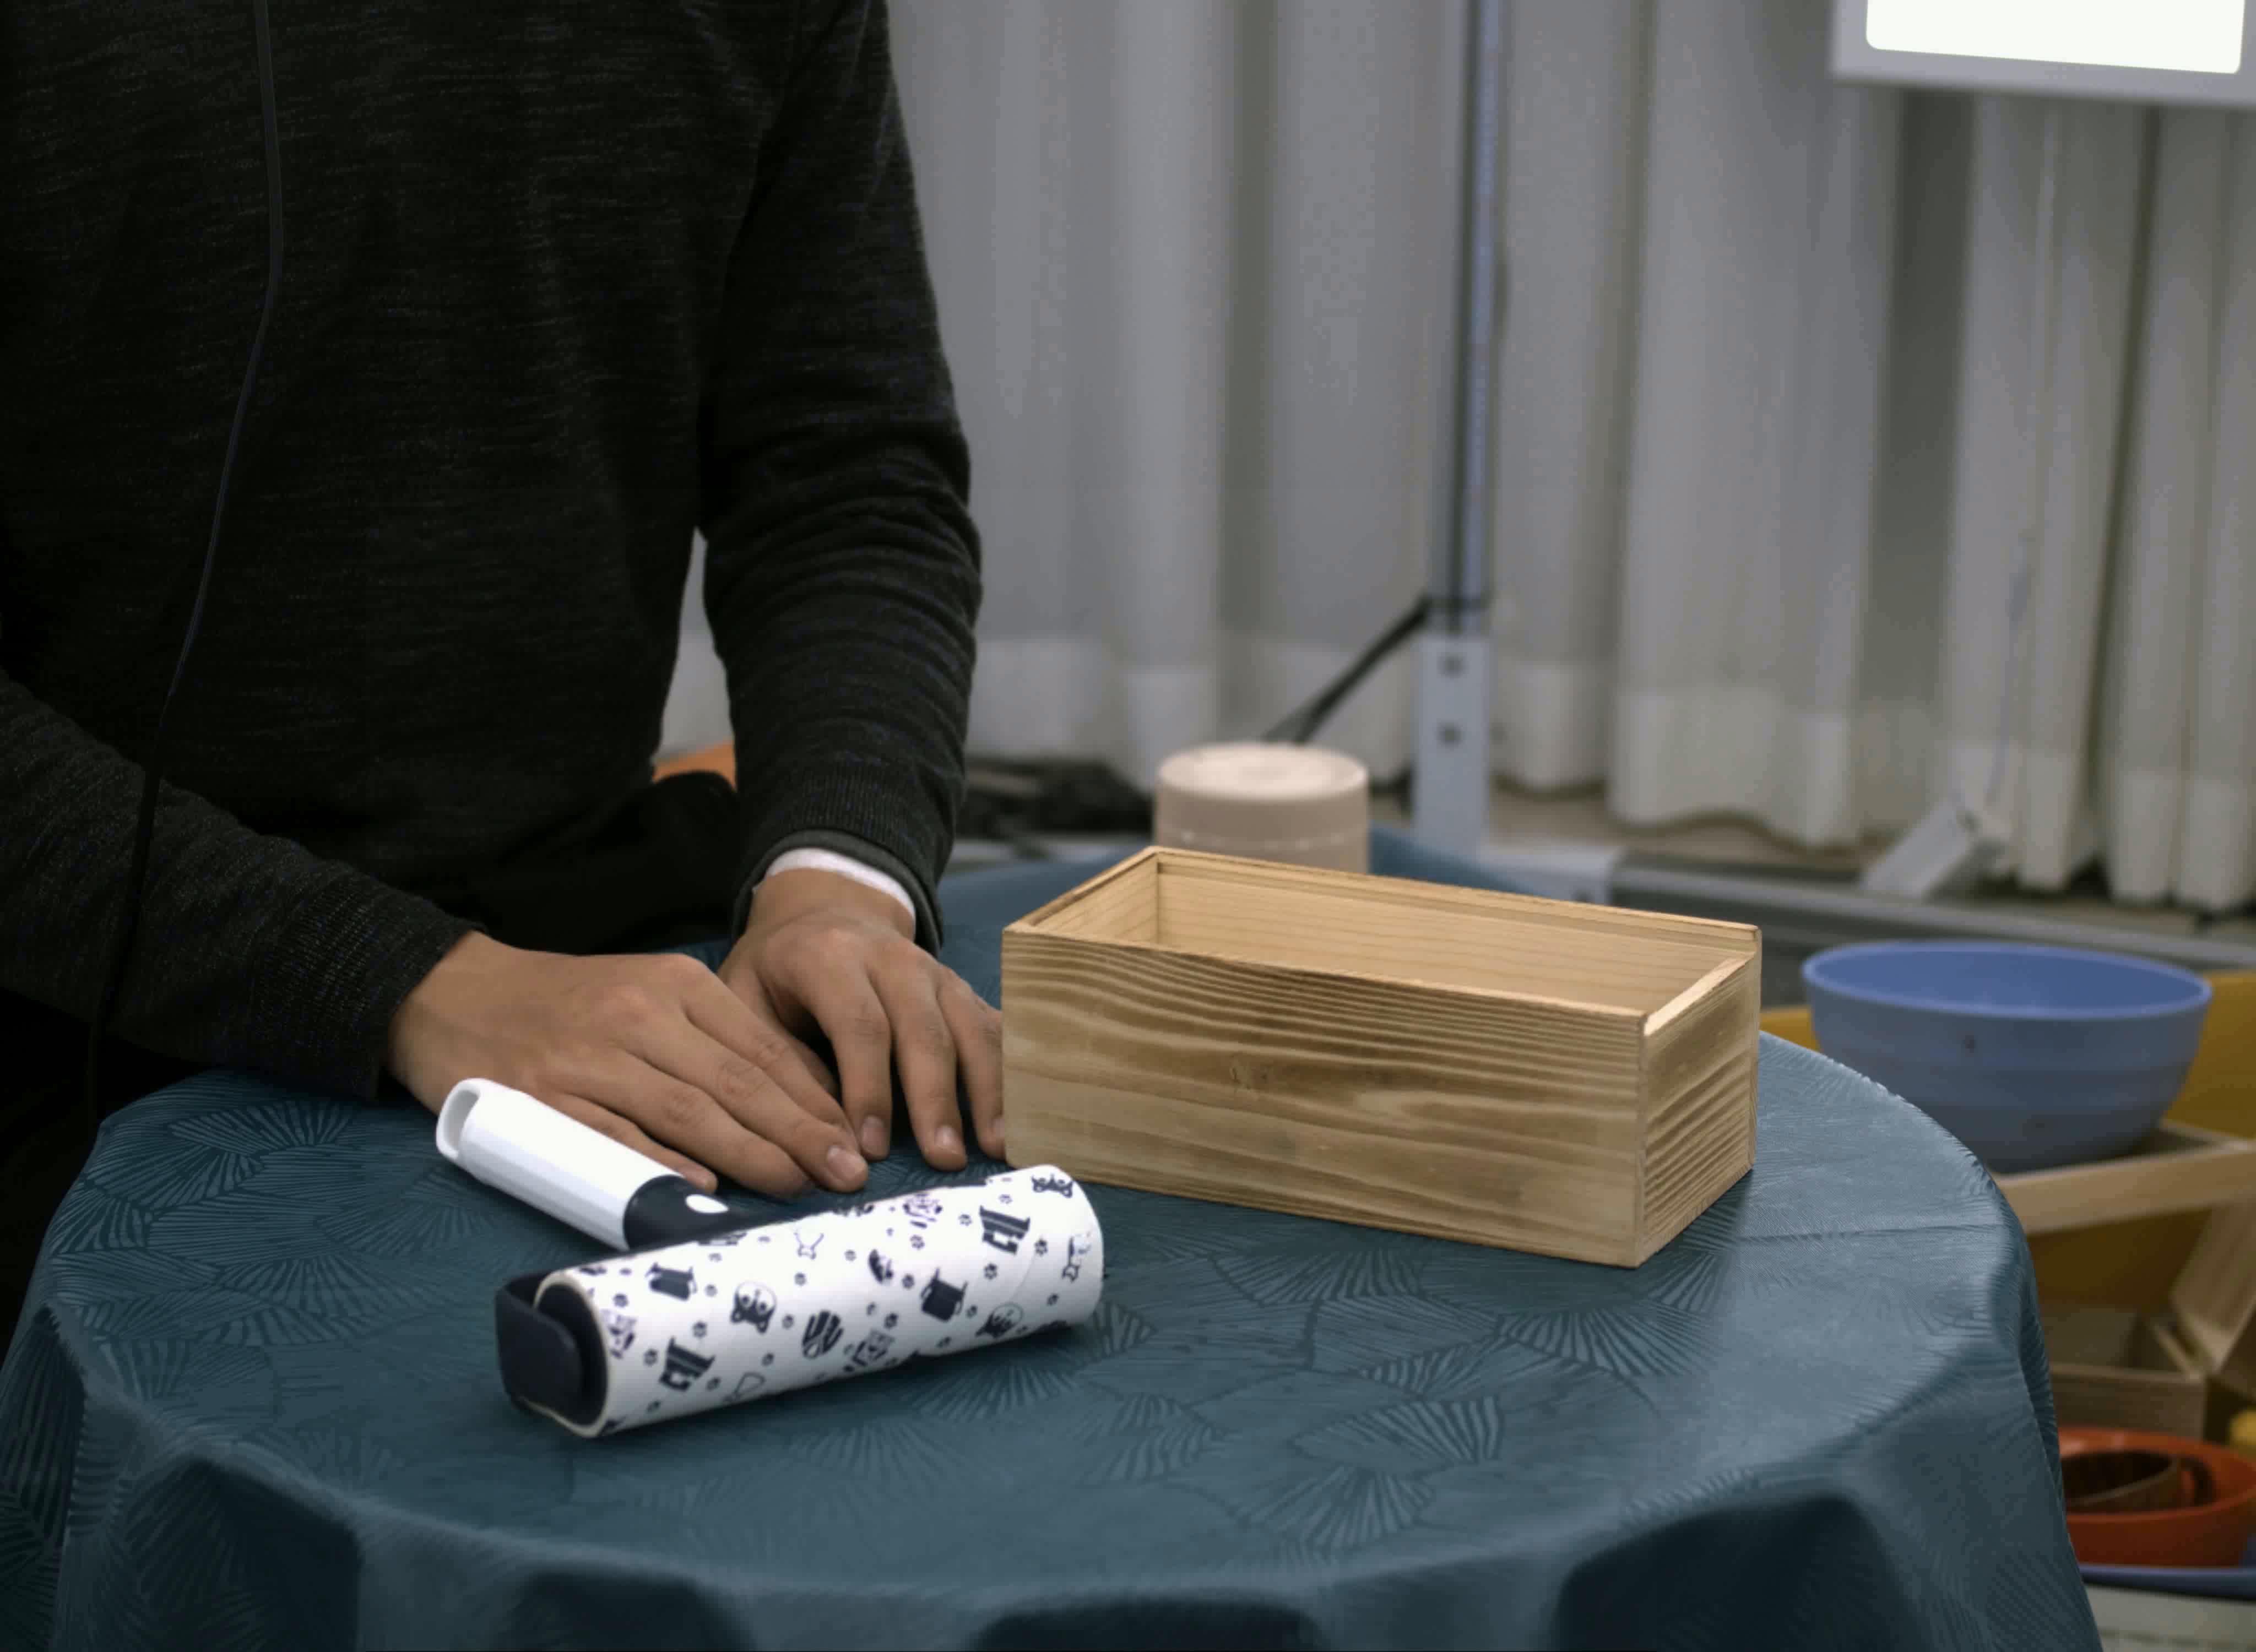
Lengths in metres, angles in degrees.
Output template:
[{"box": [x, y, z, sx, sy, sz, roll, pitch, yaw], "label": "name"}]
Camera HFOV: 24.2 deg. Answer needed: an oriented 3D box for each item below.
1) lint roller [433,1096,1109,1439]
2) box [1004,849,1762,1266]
[{"box": [-0.143, 0.111, 1.541, 0.177, 0.051, 0.244, -11, 18, -33], "label": "lint roller"}, {"box": [0.078, 0.069, 1.631, 0.209, 0.081, 0.108, 7, 17, 24], "label": "box"}]
